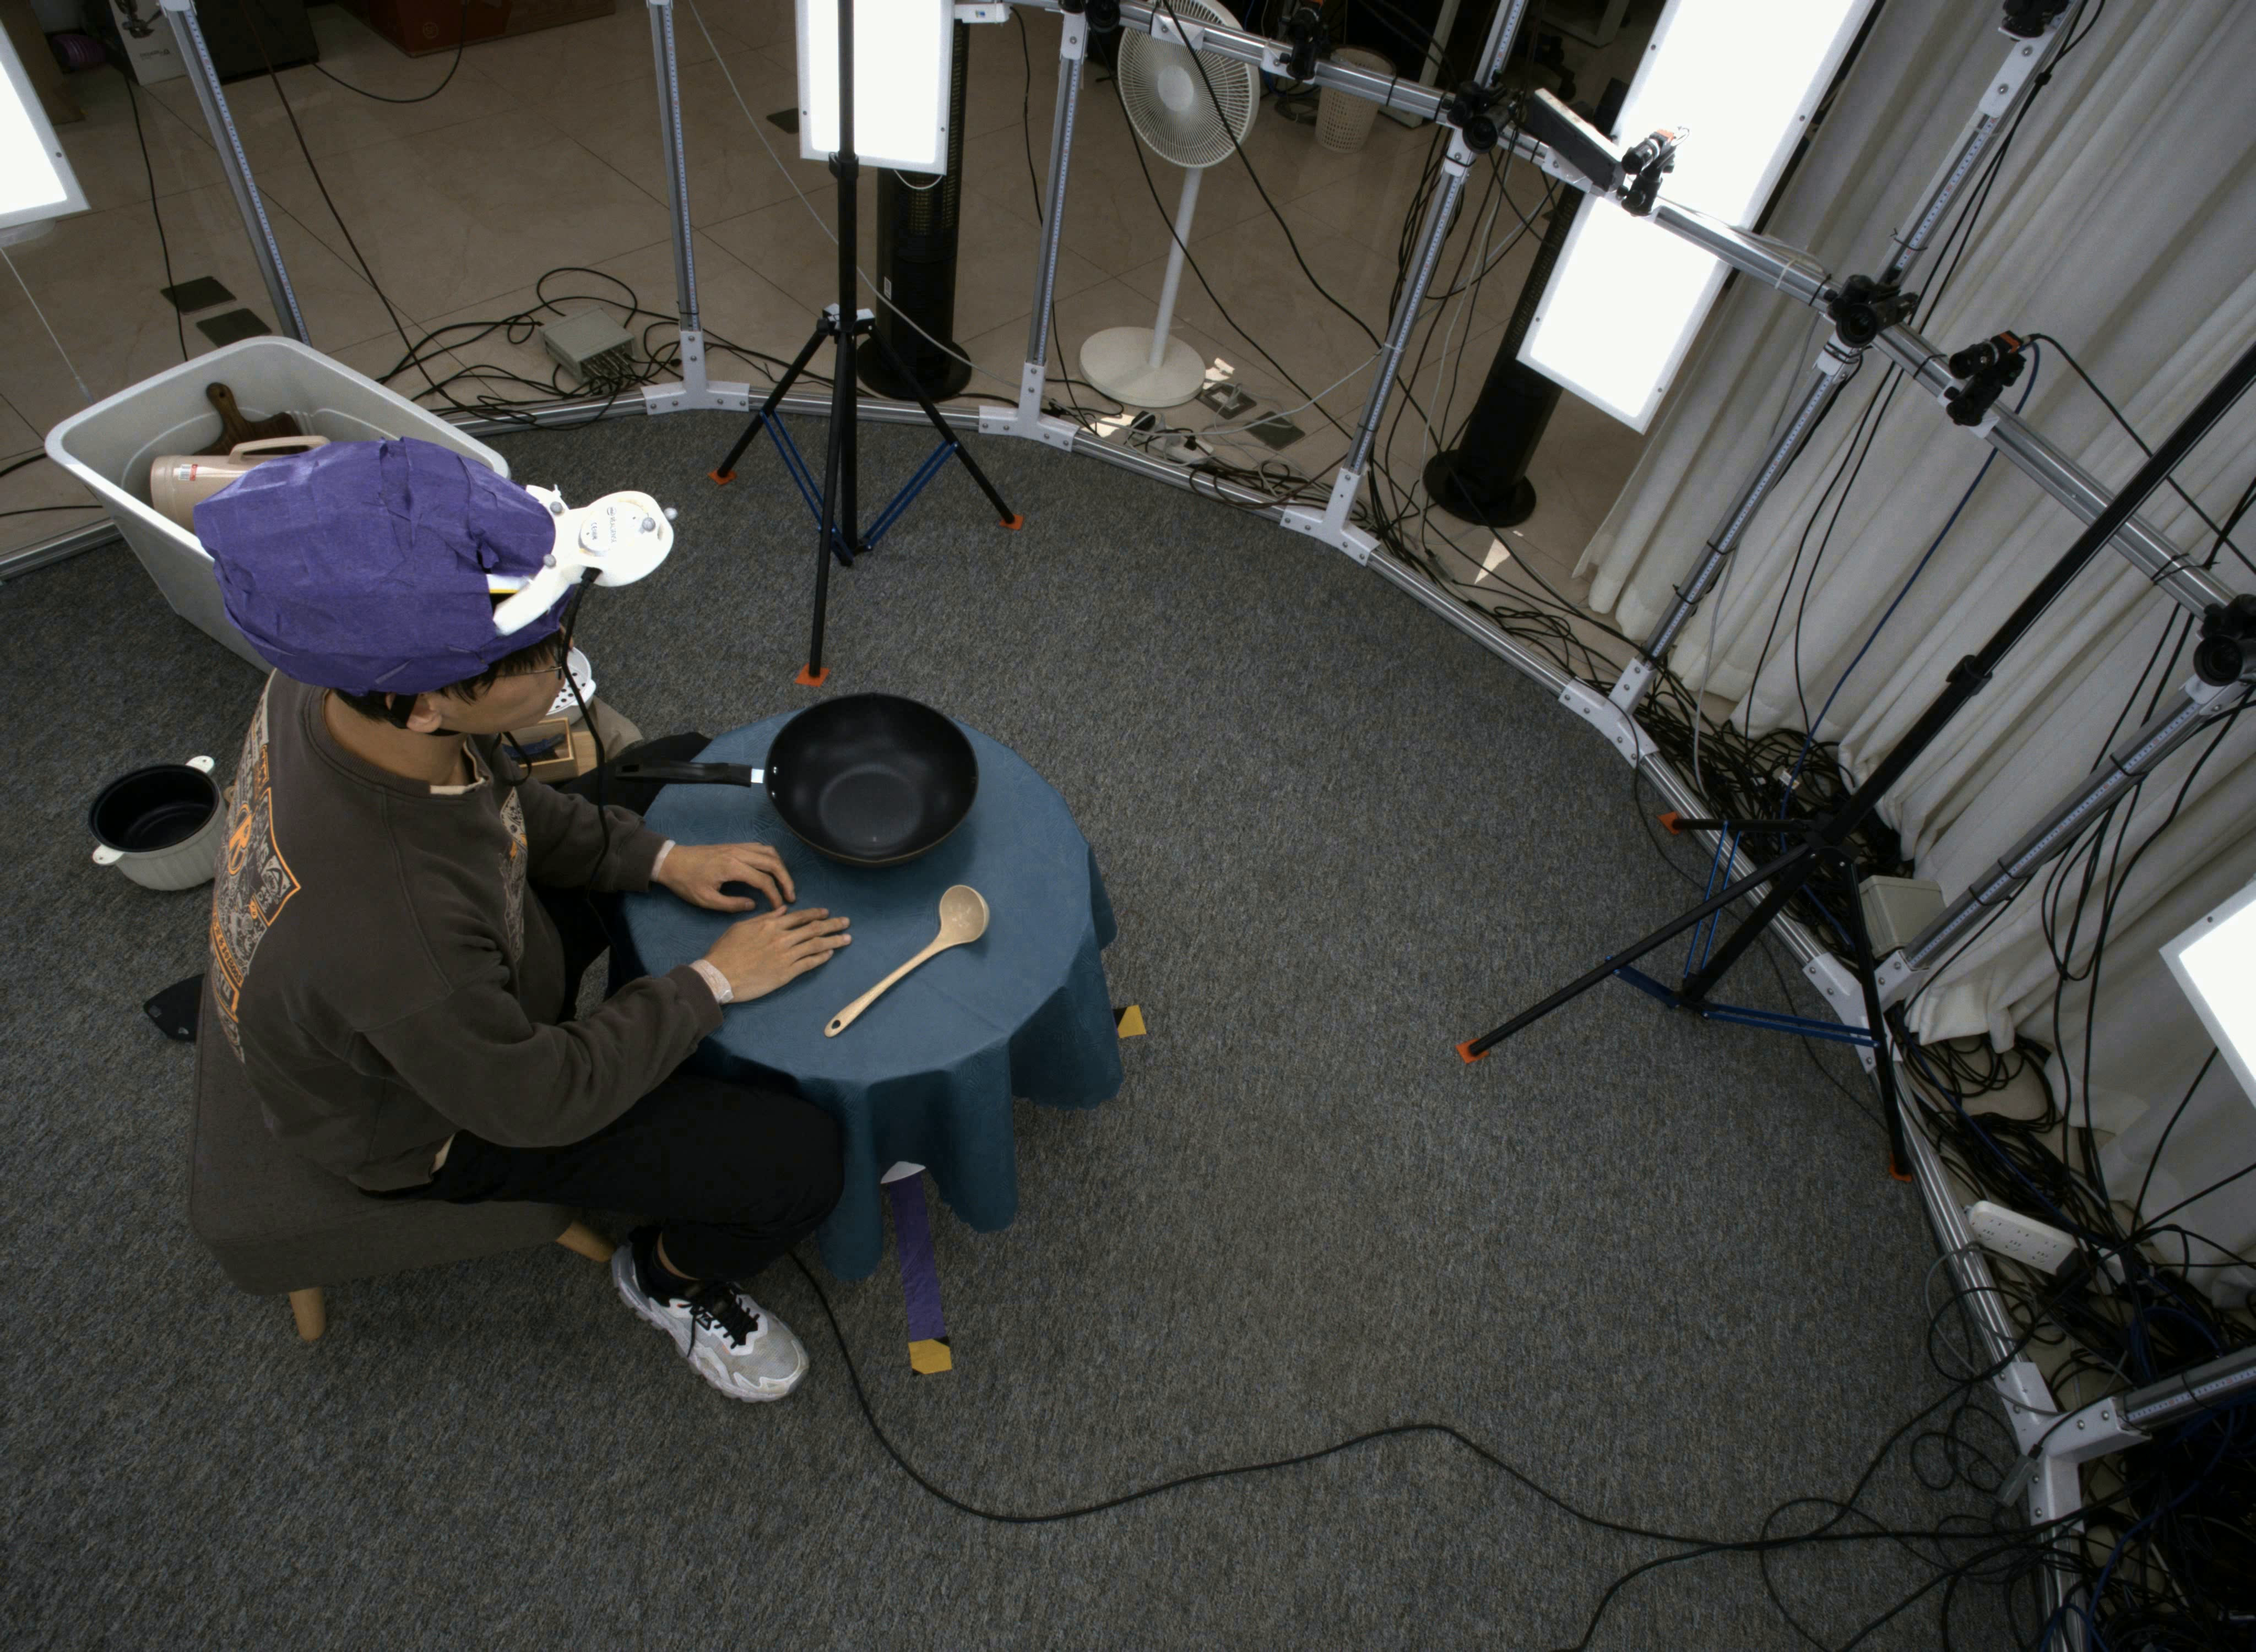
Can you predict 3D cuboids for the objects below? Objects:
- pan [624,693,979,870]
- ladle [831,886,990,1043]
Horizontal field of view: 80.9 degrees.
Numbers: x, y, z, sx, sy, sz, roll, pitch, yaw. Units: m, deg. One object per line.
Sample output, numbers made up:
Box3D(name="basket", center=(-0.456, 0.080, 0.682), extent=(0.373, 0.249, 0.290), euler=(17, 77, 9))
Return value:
Box3D(name="pan", center=(-0.428, -0.046, 1.718), extent=(0.463, 0.089, 0.282), euler=(0, 55, -12))
Box3D(name="ladle", center=(-0.271, 0.165, 1.608), extent=(0.071, 0.074, 0.254), euler=(40, 55, 11))
